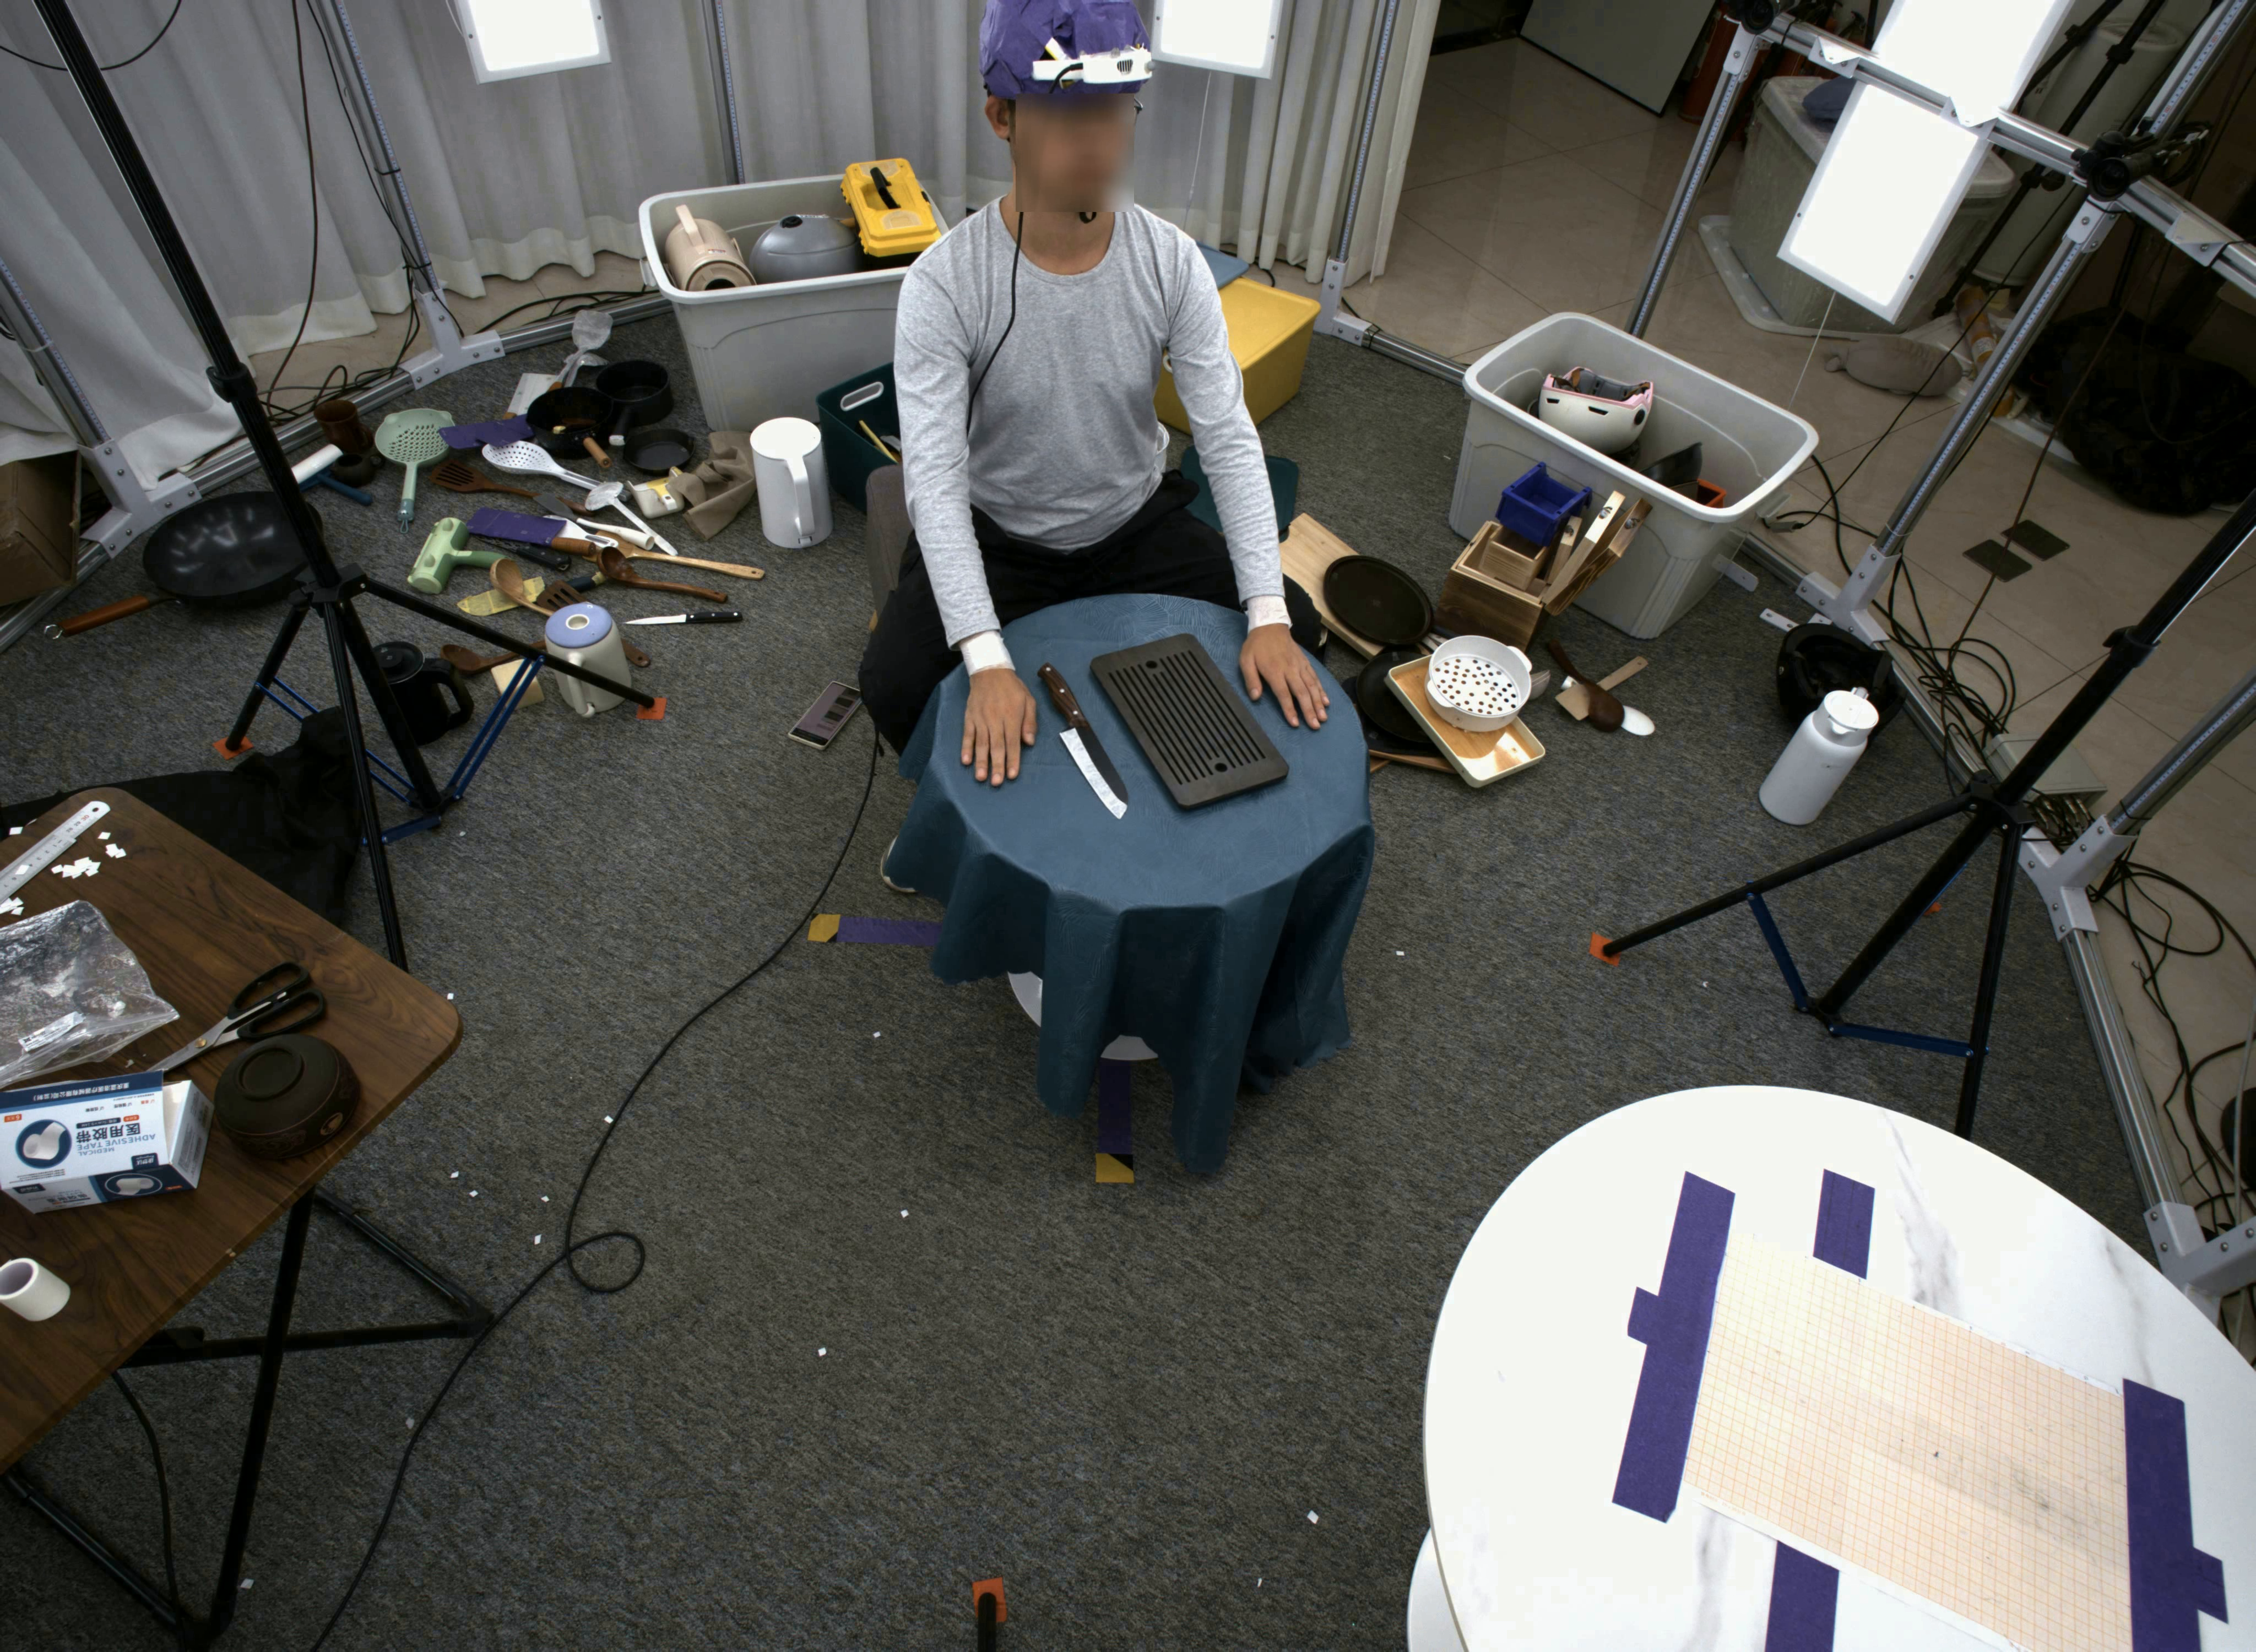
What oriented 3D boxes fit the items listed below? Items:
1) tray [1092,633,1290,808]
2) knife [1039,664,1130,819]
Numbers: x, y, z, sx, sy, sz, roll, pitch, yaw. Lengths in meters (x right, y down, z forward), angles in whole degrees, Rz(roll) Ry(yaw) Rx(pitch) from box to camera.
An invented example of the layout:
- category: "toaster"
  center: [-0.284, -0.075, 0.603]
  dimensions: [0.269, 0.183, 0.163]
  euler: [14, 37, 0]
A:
- category: "tray"
  center: [0.084, -0.152, 1.794]
  dimensions: [0.170, 0.018, 0.313]
  euler: [-17, 52, -17]
- category: "knife"
  center: [-0.062, -0.119, 1.757]
  dimensions: [0.050, 0.019, 0.296]
  euler: [-18, 55, -13]
